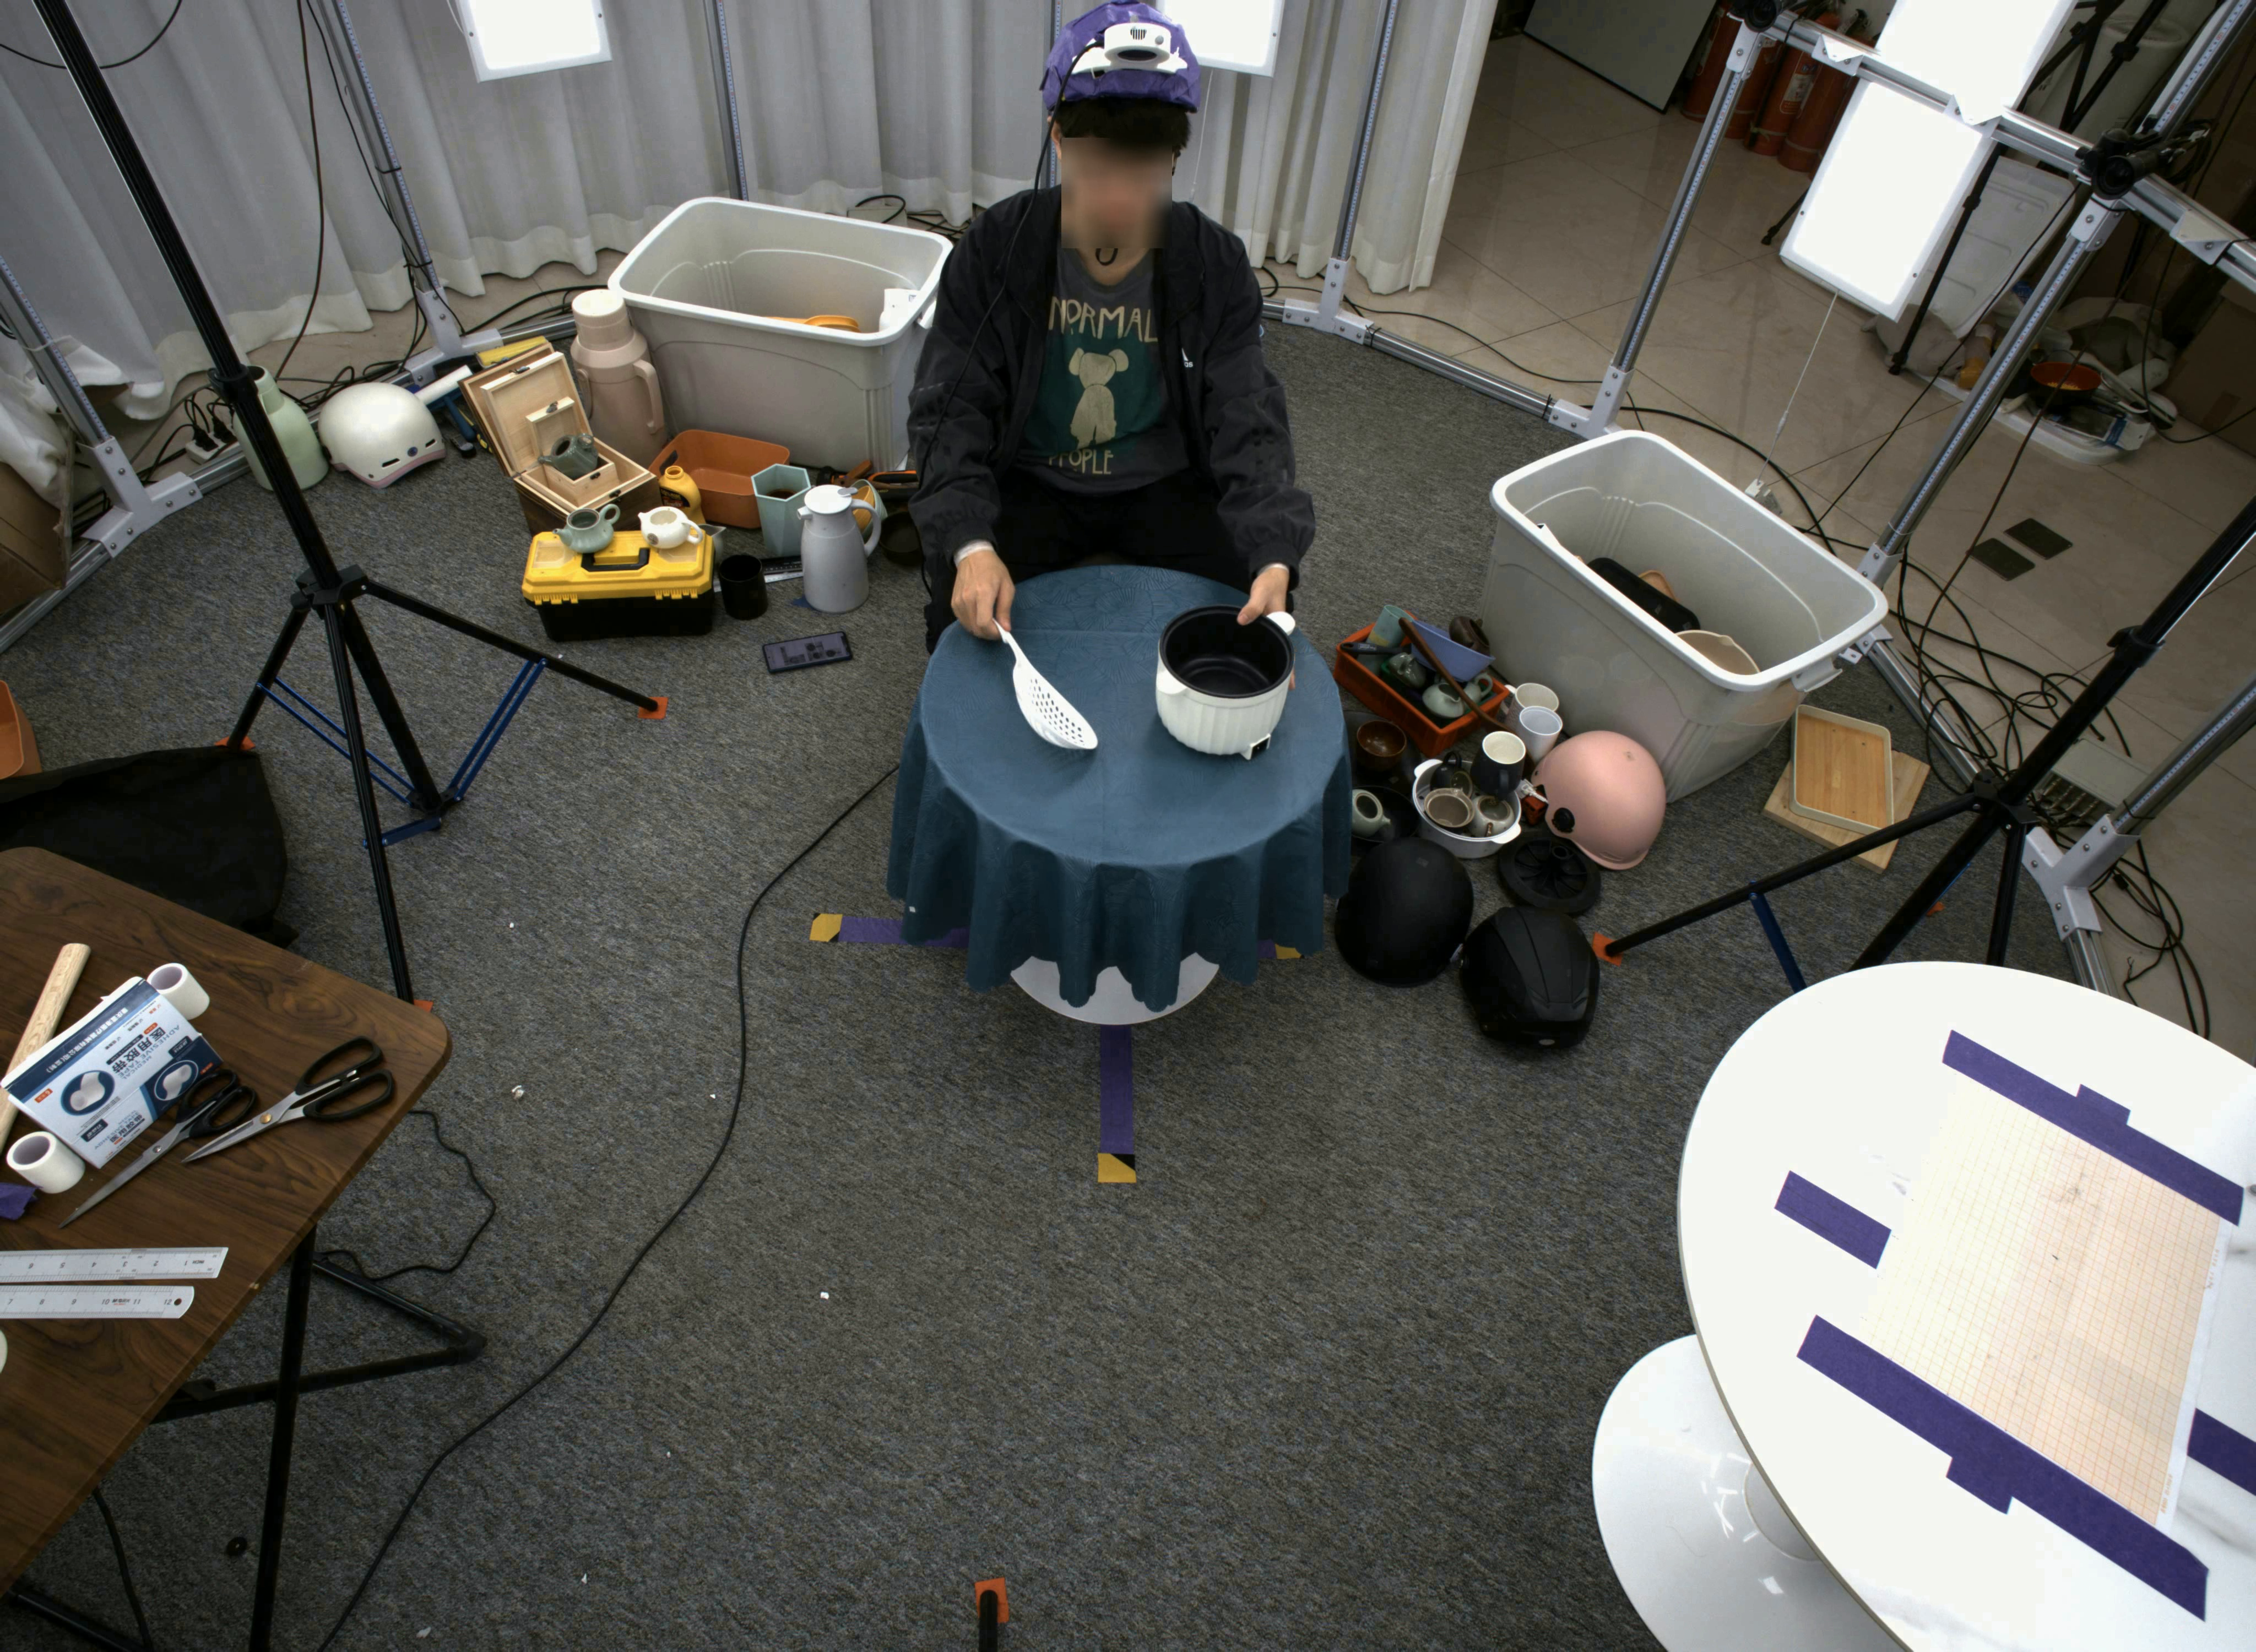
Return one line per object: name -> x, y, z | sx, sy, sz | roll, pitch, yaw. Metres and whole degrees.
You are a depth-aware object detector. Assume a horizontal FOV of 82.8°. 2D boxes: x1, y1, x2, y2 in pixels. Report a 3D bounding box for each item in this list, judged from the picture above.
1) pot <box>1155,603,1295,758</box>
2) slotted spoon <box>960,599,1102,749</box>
pot -> 0.123, -0.196, 1.755 | 0.242, 0.139, 0.194 | -30, 60, -28
slotted spoon -> -0.150, -0.220, 1.800 | 0.135, 0.050, 0.356 | 14, 37, -46
